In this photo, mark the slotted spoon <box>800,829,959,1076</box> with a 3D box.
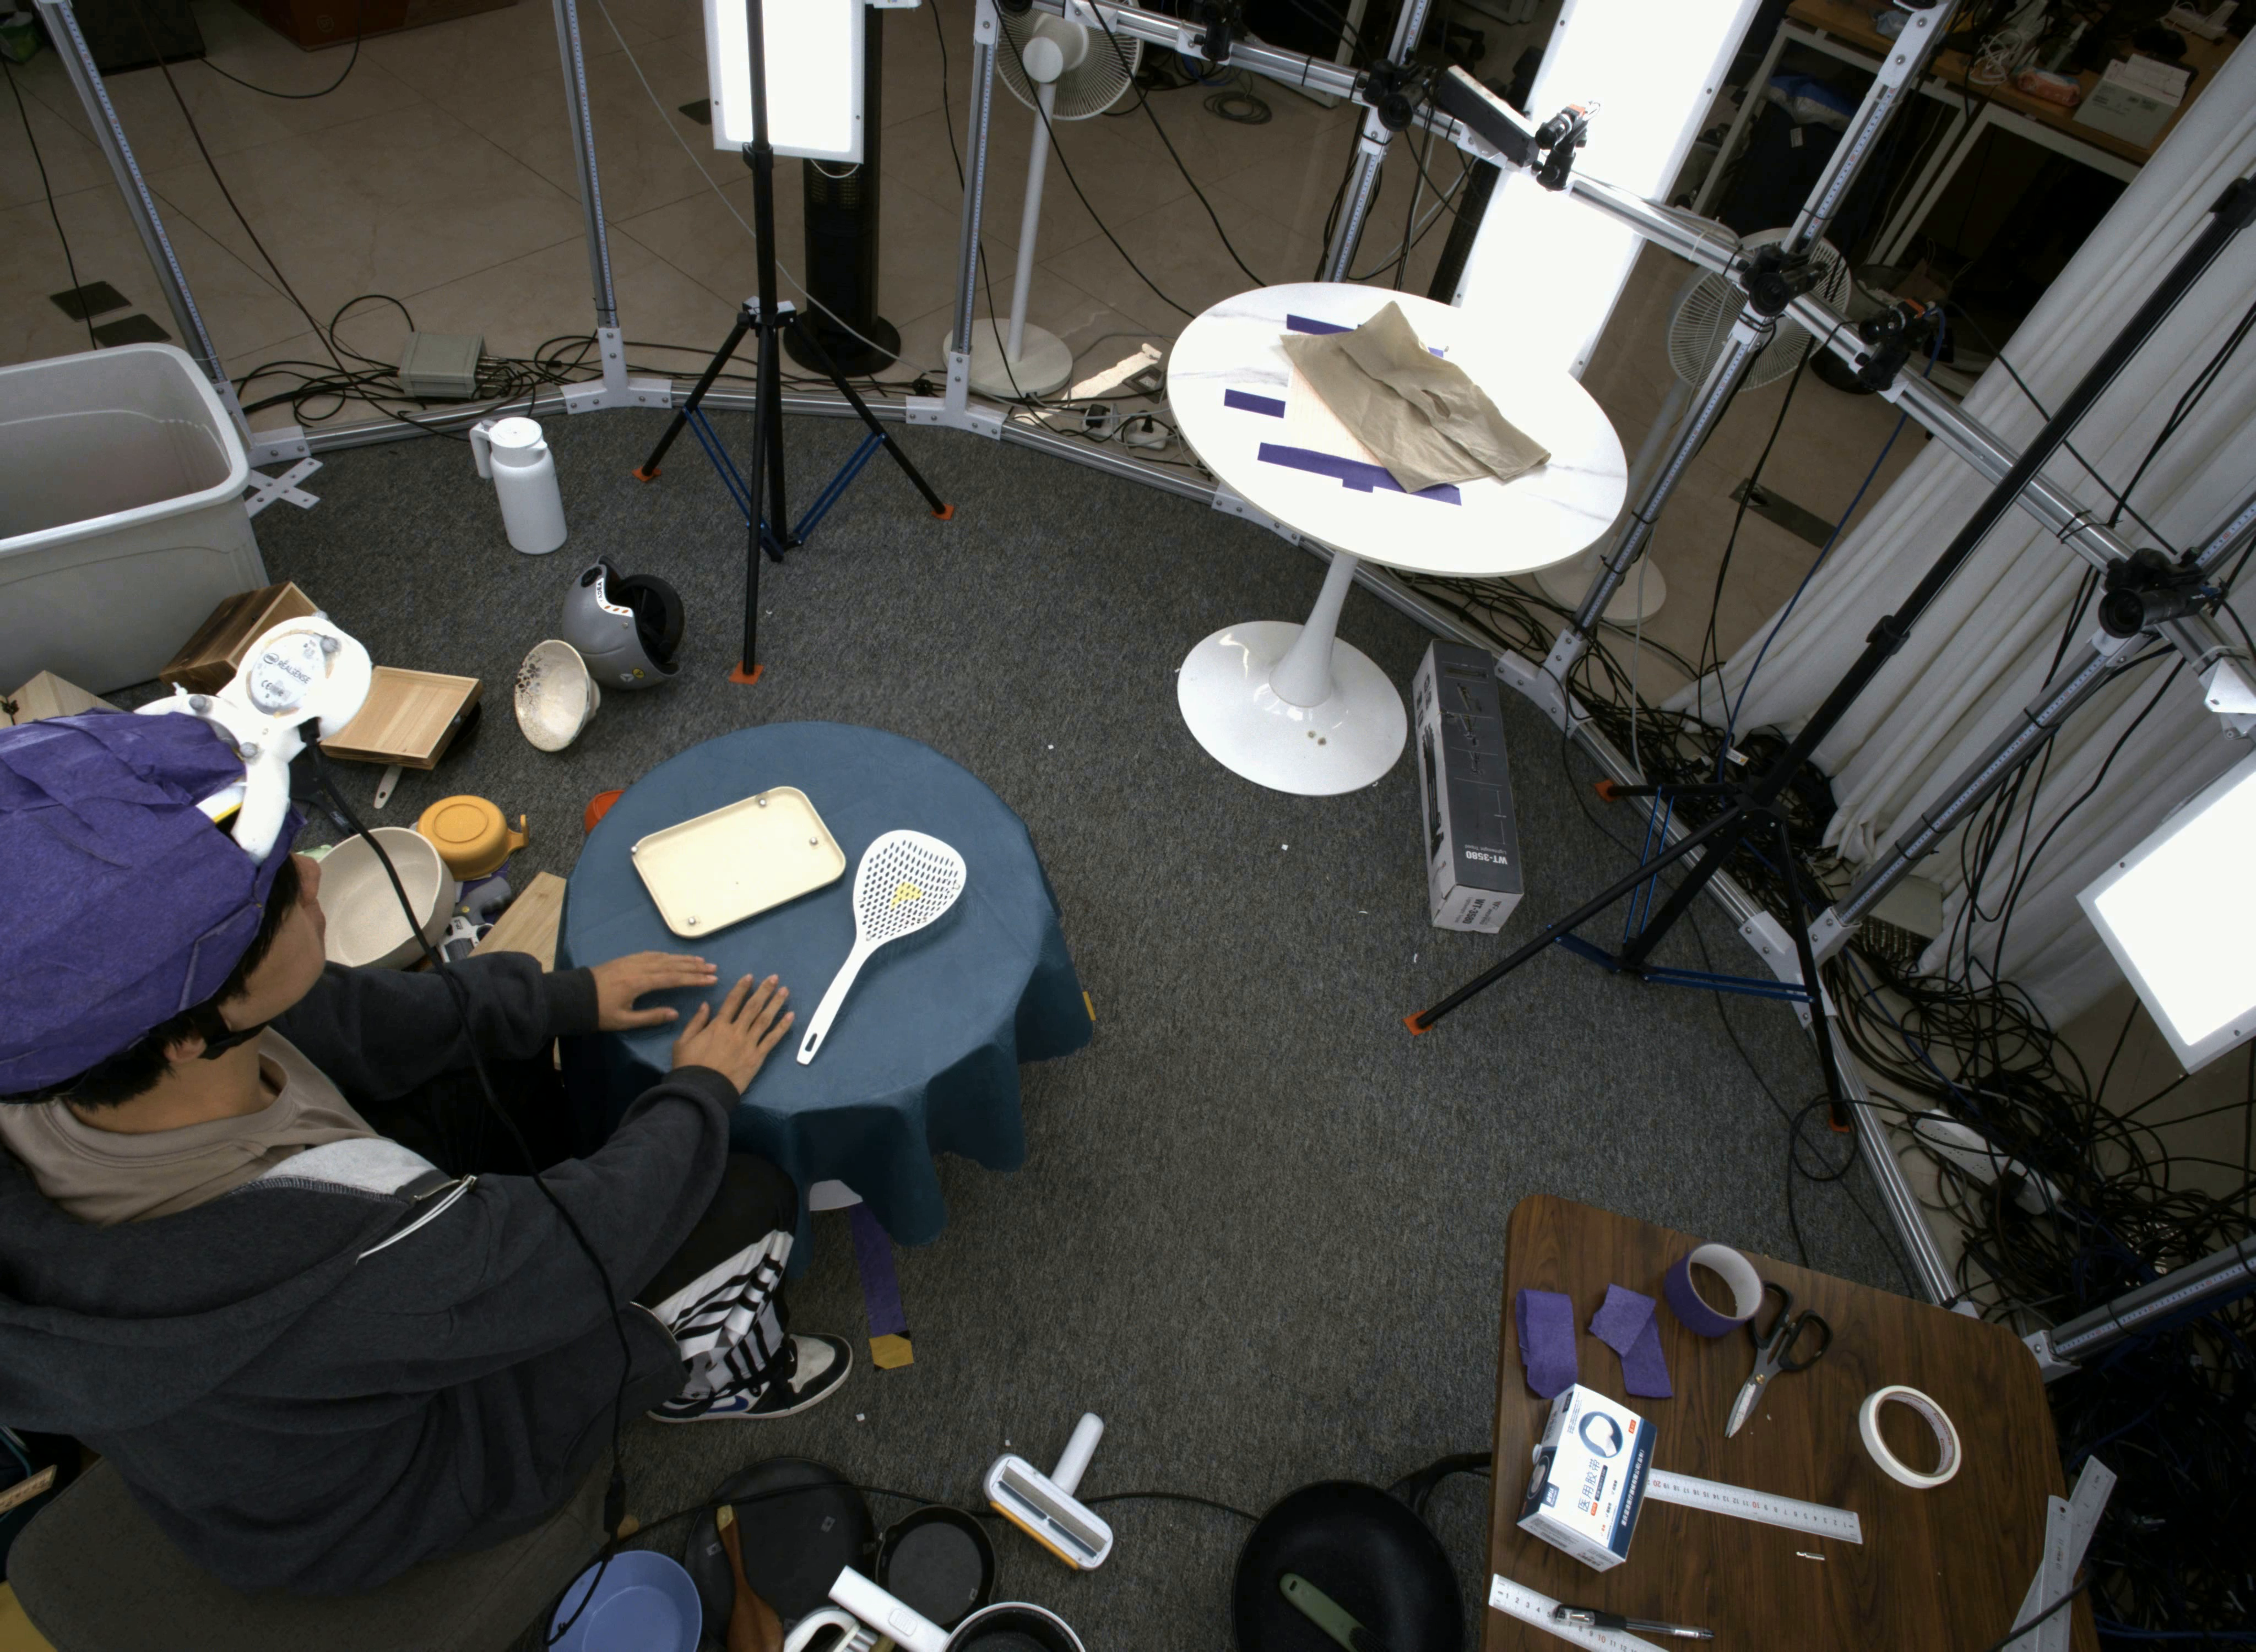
[{"bbox_3d":[-0.328,0.150,1.616,0.136,0.051,0.345,24,52,1],"label":"slotted spoon"}]

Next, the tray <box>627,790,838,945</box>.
[{"bbox_3d":[-0.507,0.050,1.659,0.241,0.018,0.167,-25,64,-29],"label":"tray"}]
